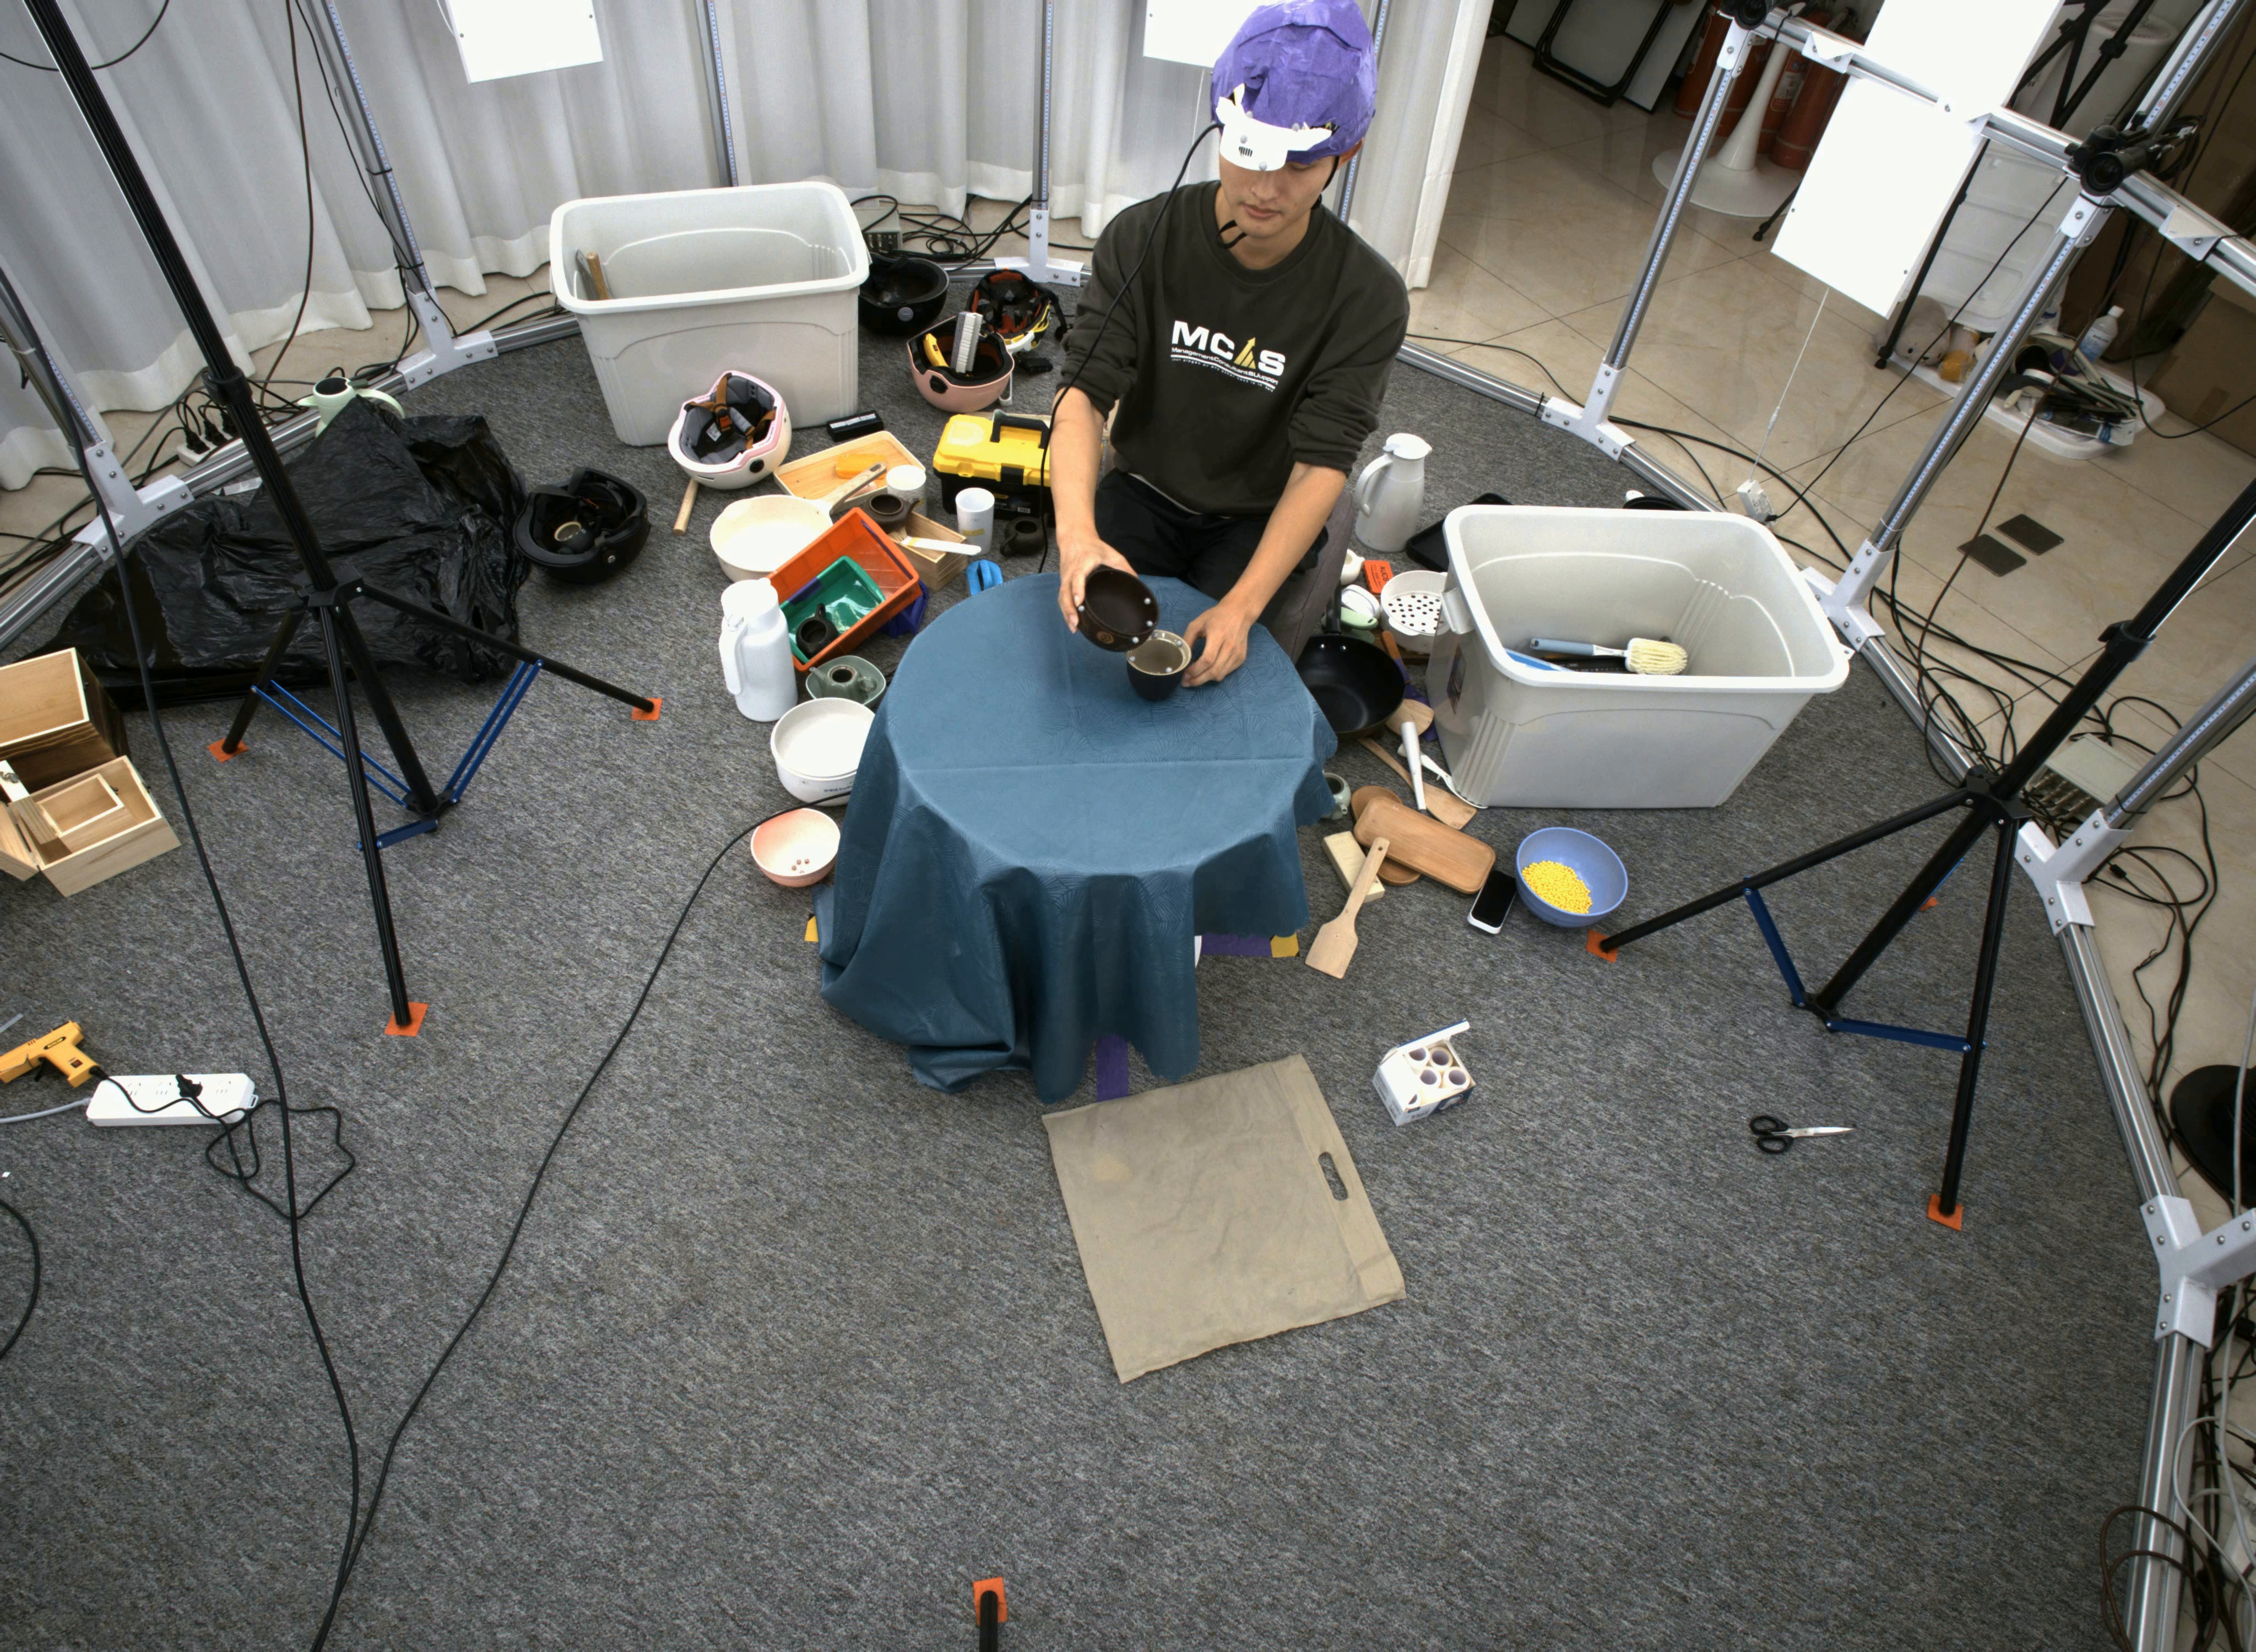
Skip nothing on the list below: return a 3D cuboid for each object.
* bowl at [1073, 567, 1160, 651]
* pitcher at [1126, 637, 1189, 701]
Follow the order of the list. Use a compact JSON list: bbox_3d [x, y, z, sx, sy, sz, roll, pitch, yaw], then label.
[{"bbox_3d":[-0.022,-0.291,1.773,0.117,0.068,0.121,14,51,-19],"label":"bowl"},{"bbox_3d":[0.036,-0.221,1.811,0.096,0.069,0.085,25,53,16],"label":"pitcher"}]
